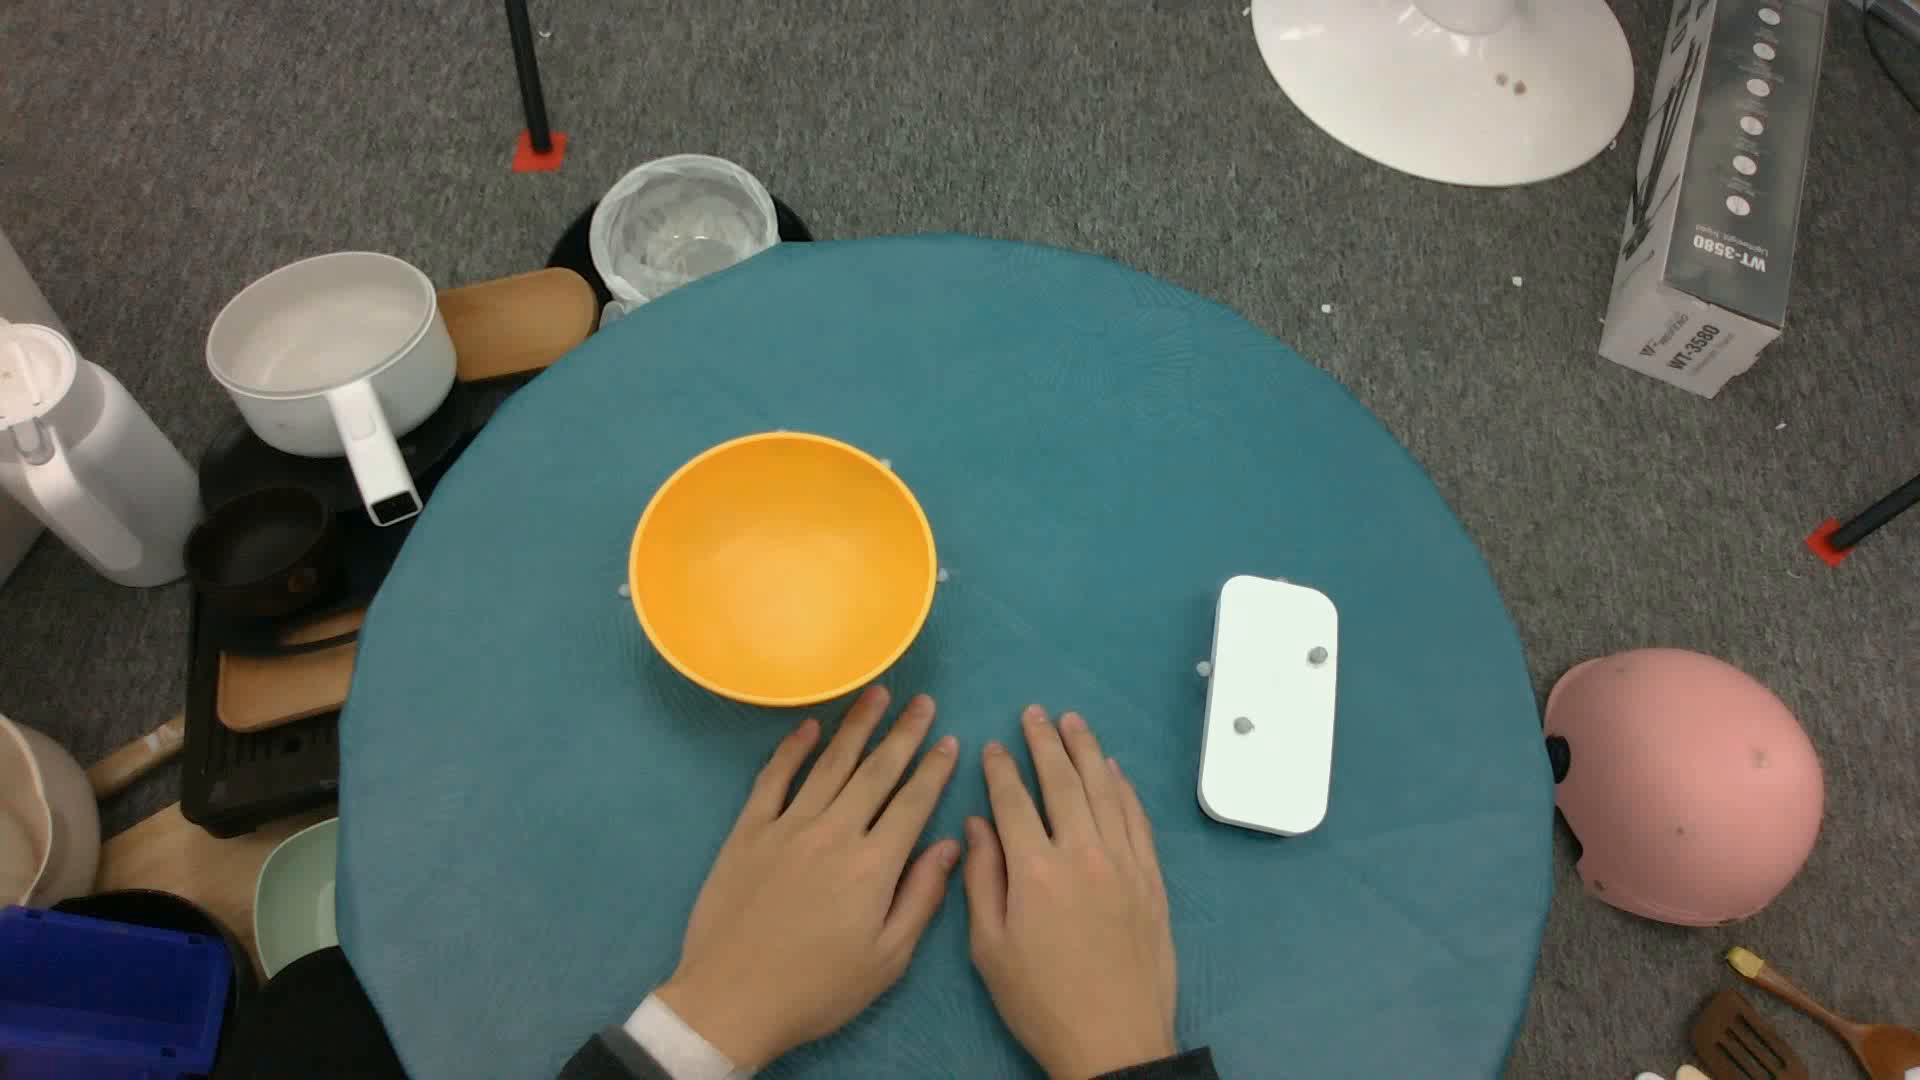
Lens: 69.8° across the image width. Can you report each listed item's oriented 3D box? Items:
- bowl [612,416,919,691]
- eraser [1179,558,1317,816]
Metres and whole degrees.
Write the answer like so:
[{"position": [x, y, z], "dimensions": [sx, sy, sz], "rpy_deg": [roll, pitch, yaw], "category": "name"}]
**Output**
[{"position": [-0.094, 0.014, 0.678], "dimensions": [0.145, 0.060, 0.146], "rpy_deg": [2, 64, -4], "category": "bowl"}, {"position": [0.144, 0.072, 0.693], "dimensions": [0.063, 0.034, 0.132], "rpy_deg": [12, 62, 0], "category": "eraser"}]
